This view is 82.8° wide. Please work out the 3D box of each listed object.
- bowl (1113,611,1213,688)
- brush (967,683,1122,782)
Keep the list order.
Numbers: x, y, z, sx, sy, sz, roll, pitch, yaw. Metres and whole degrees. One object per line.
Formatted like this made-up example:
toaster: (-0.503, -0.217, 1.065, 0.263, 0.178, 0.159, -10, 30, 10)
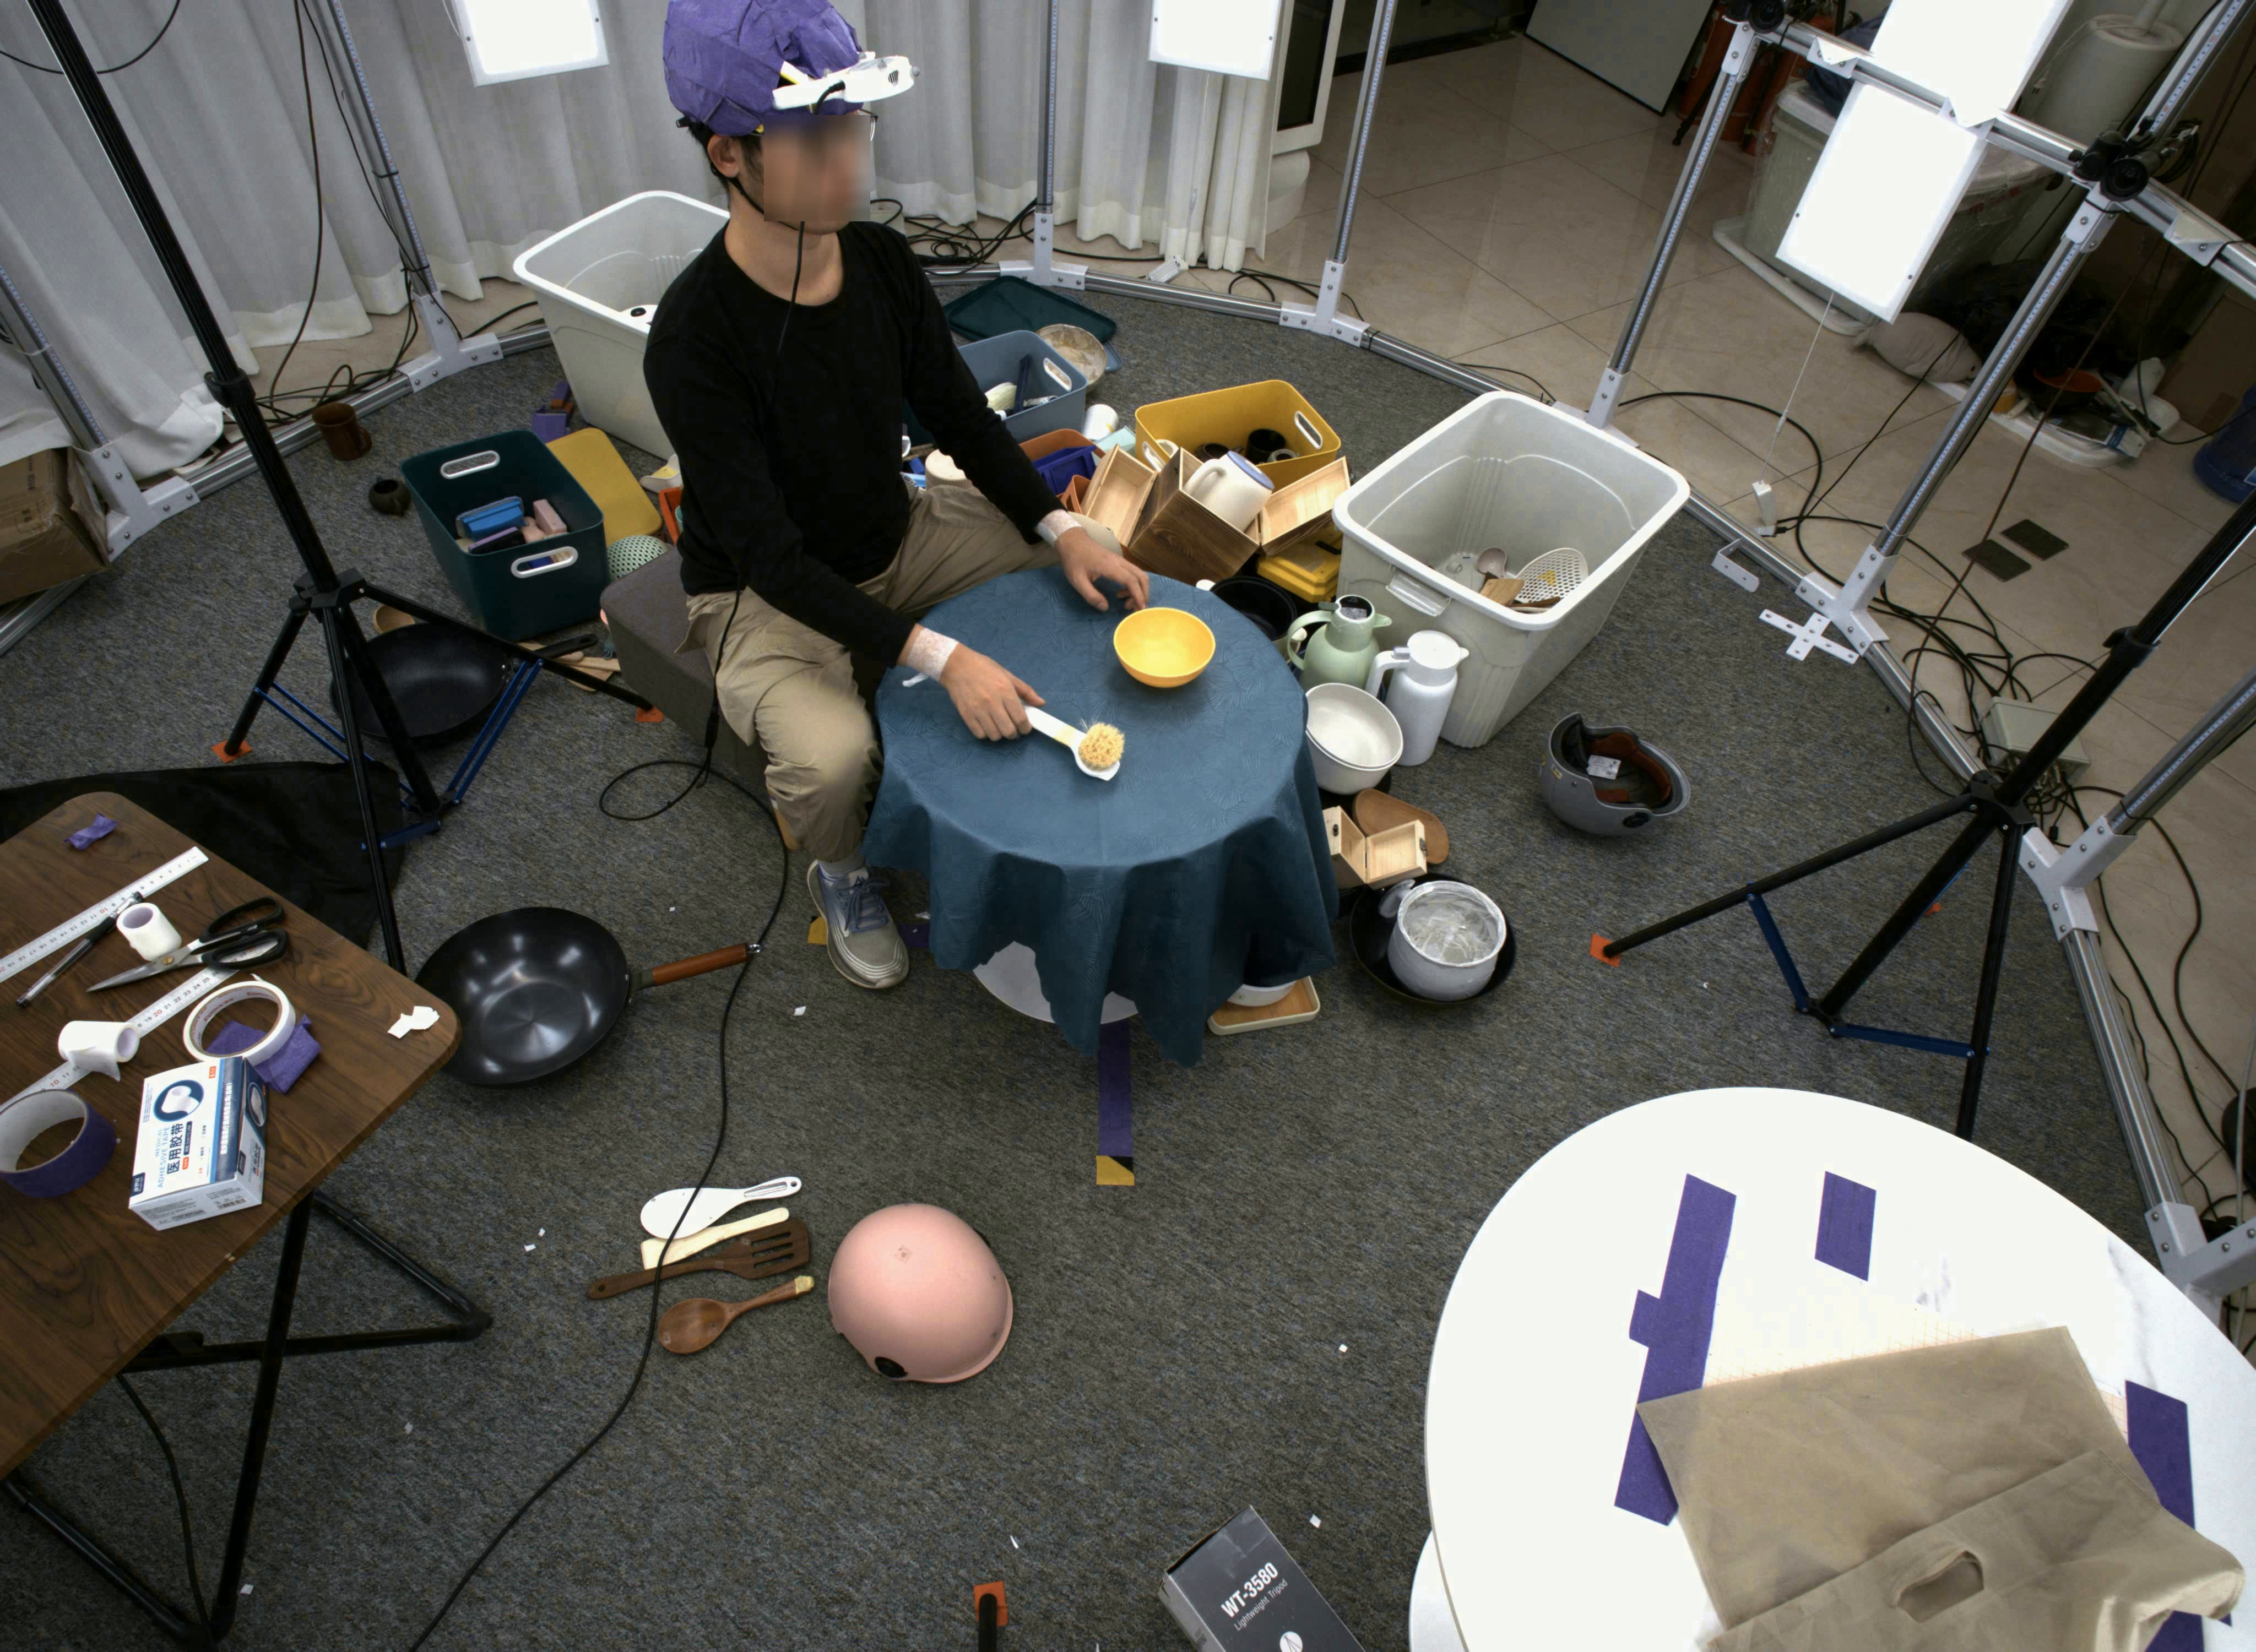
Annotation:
bowl: (0.048, -0.243, 1.847, 0.145, 0.058, 0.149, 2, 47, -2)
brush: (-0.120, -0.147, 1.755, 0.270, 0.055, 0.069, 33, 51, 24)
